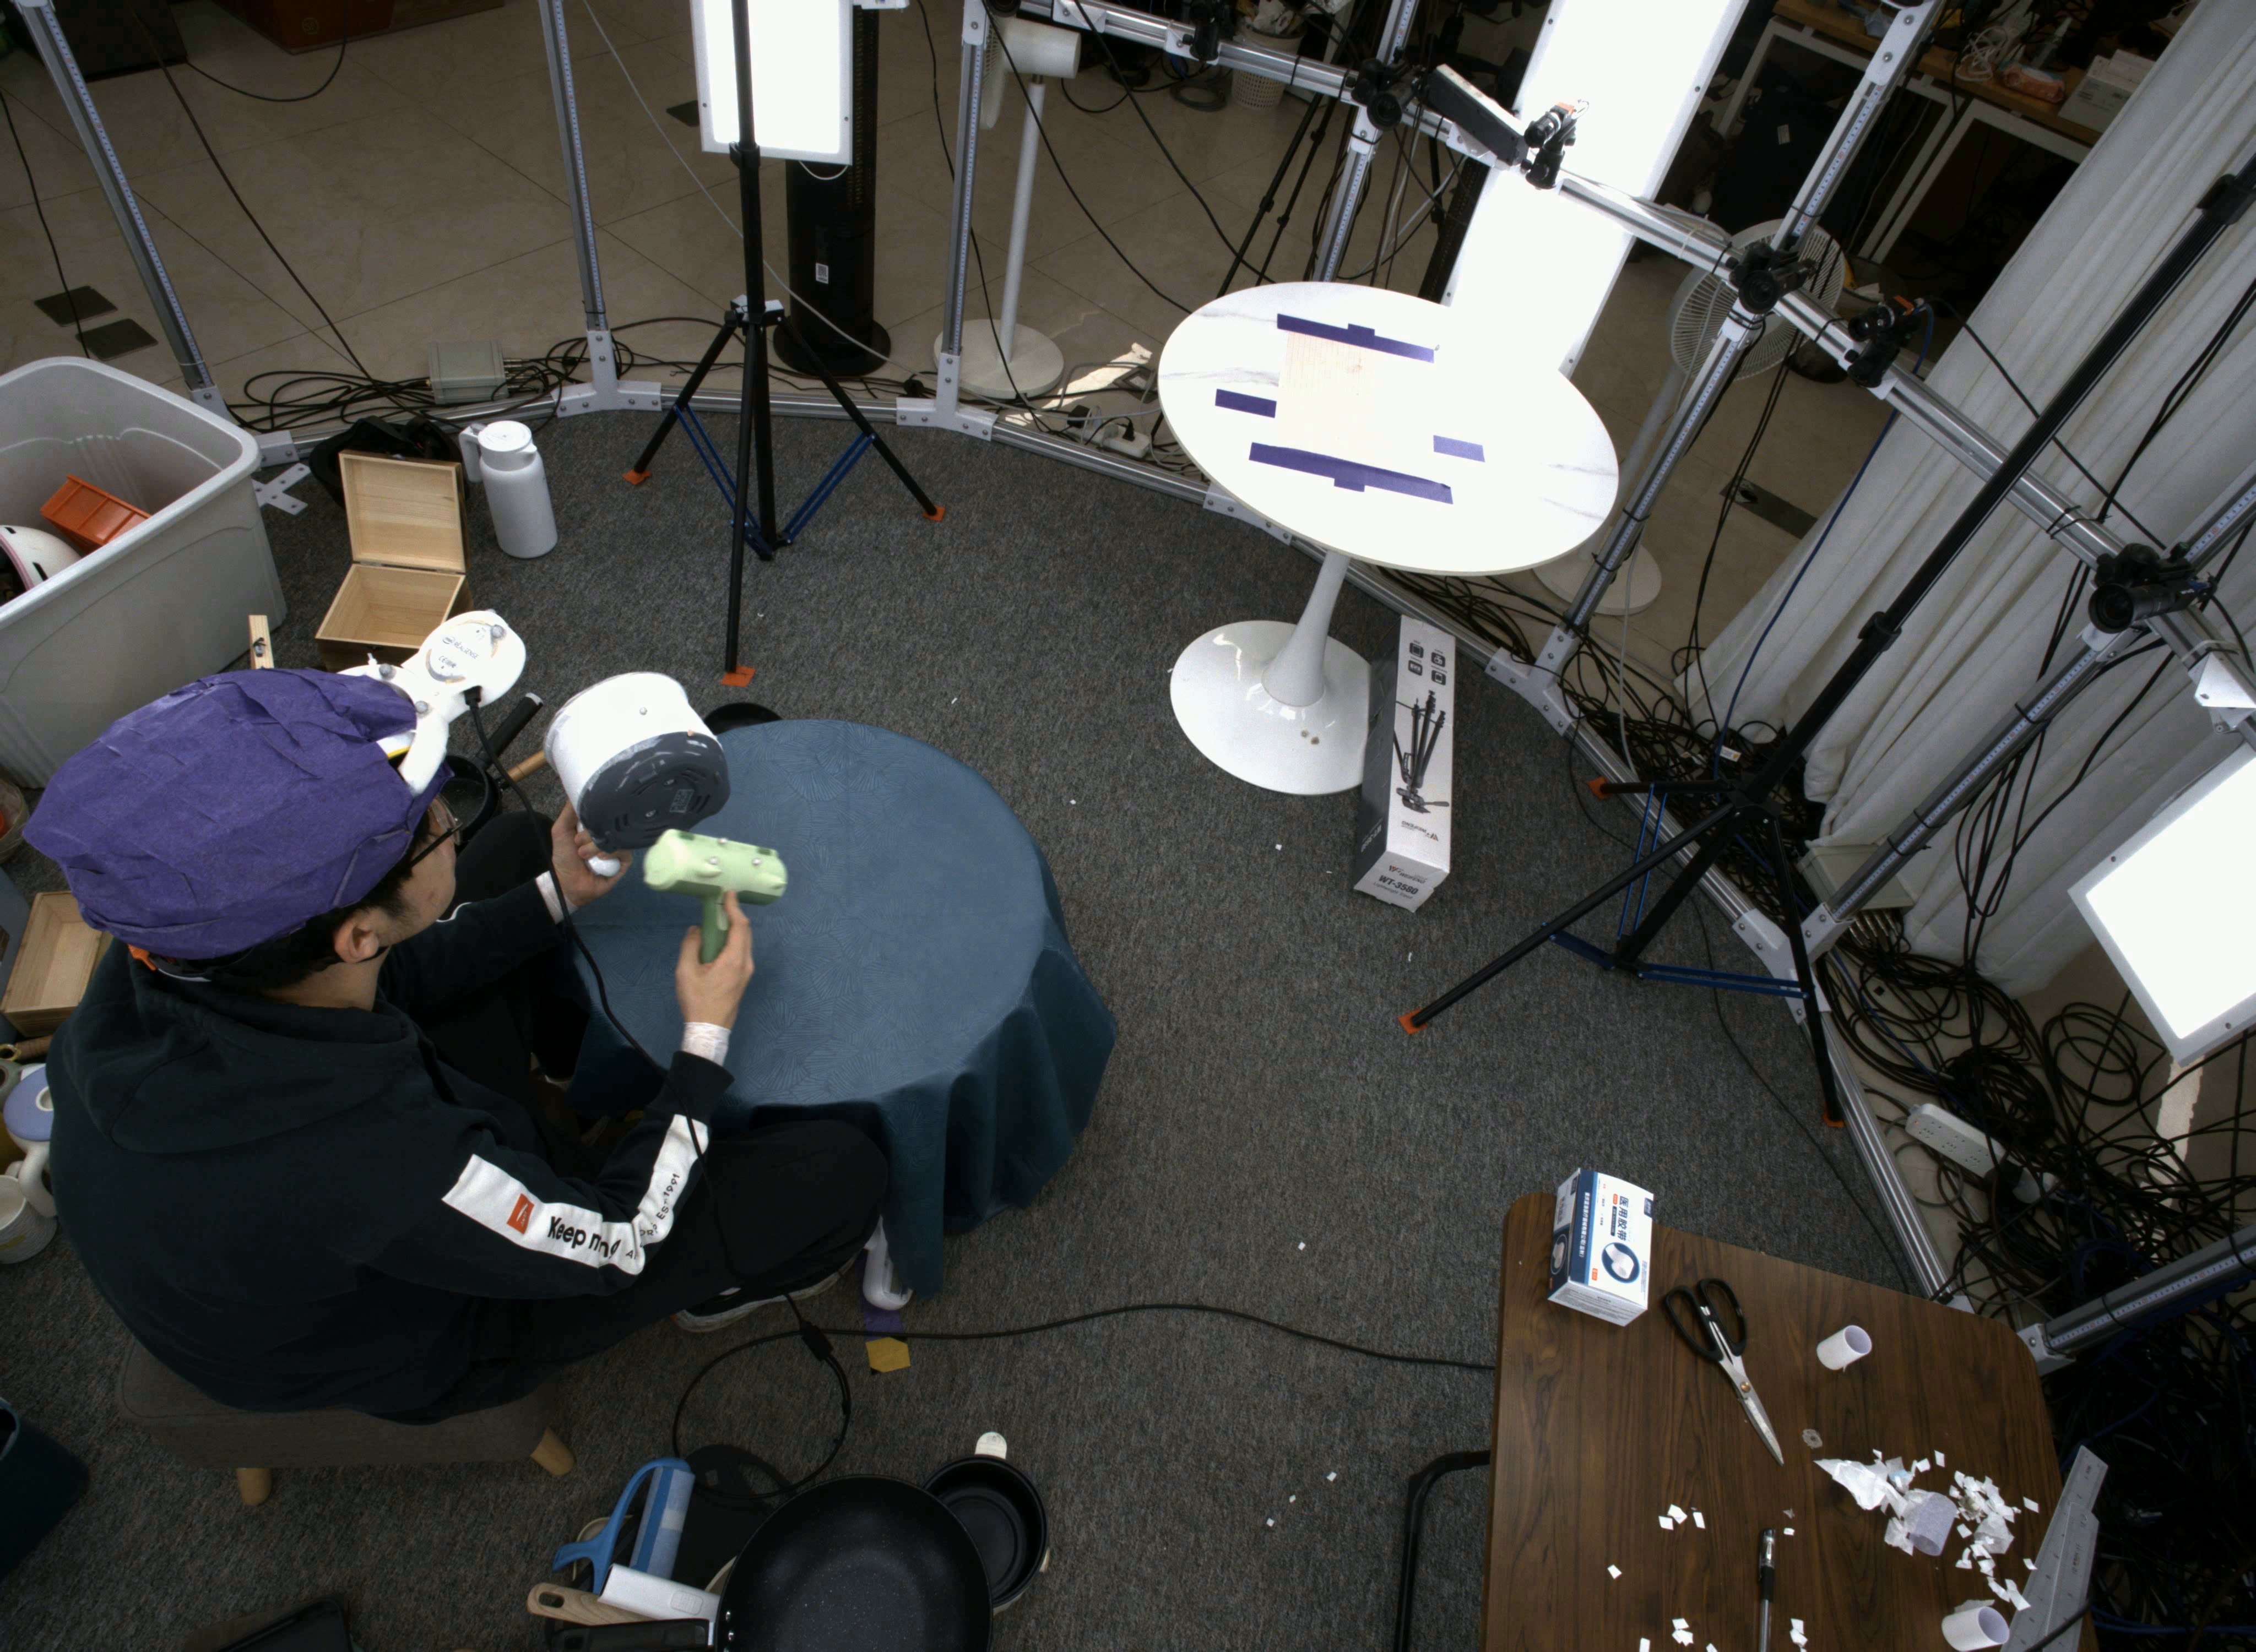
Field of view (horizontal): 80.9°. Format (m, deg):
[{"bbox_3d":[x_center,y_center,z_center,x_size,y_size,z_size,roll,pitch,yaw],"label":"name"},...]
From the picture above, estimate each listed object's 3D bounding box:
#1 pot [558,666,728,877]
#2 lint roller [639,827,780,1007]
[{"bbox_3d":[-0.582,-0.056,1.489,0.134,0.234,0.182,52,26,21],"label":"pot"},{"bbox_3d":[-0.457,0.104,1.447,0.080,0.203,0.183,-10,79,20],"label":"lint roller"}]
